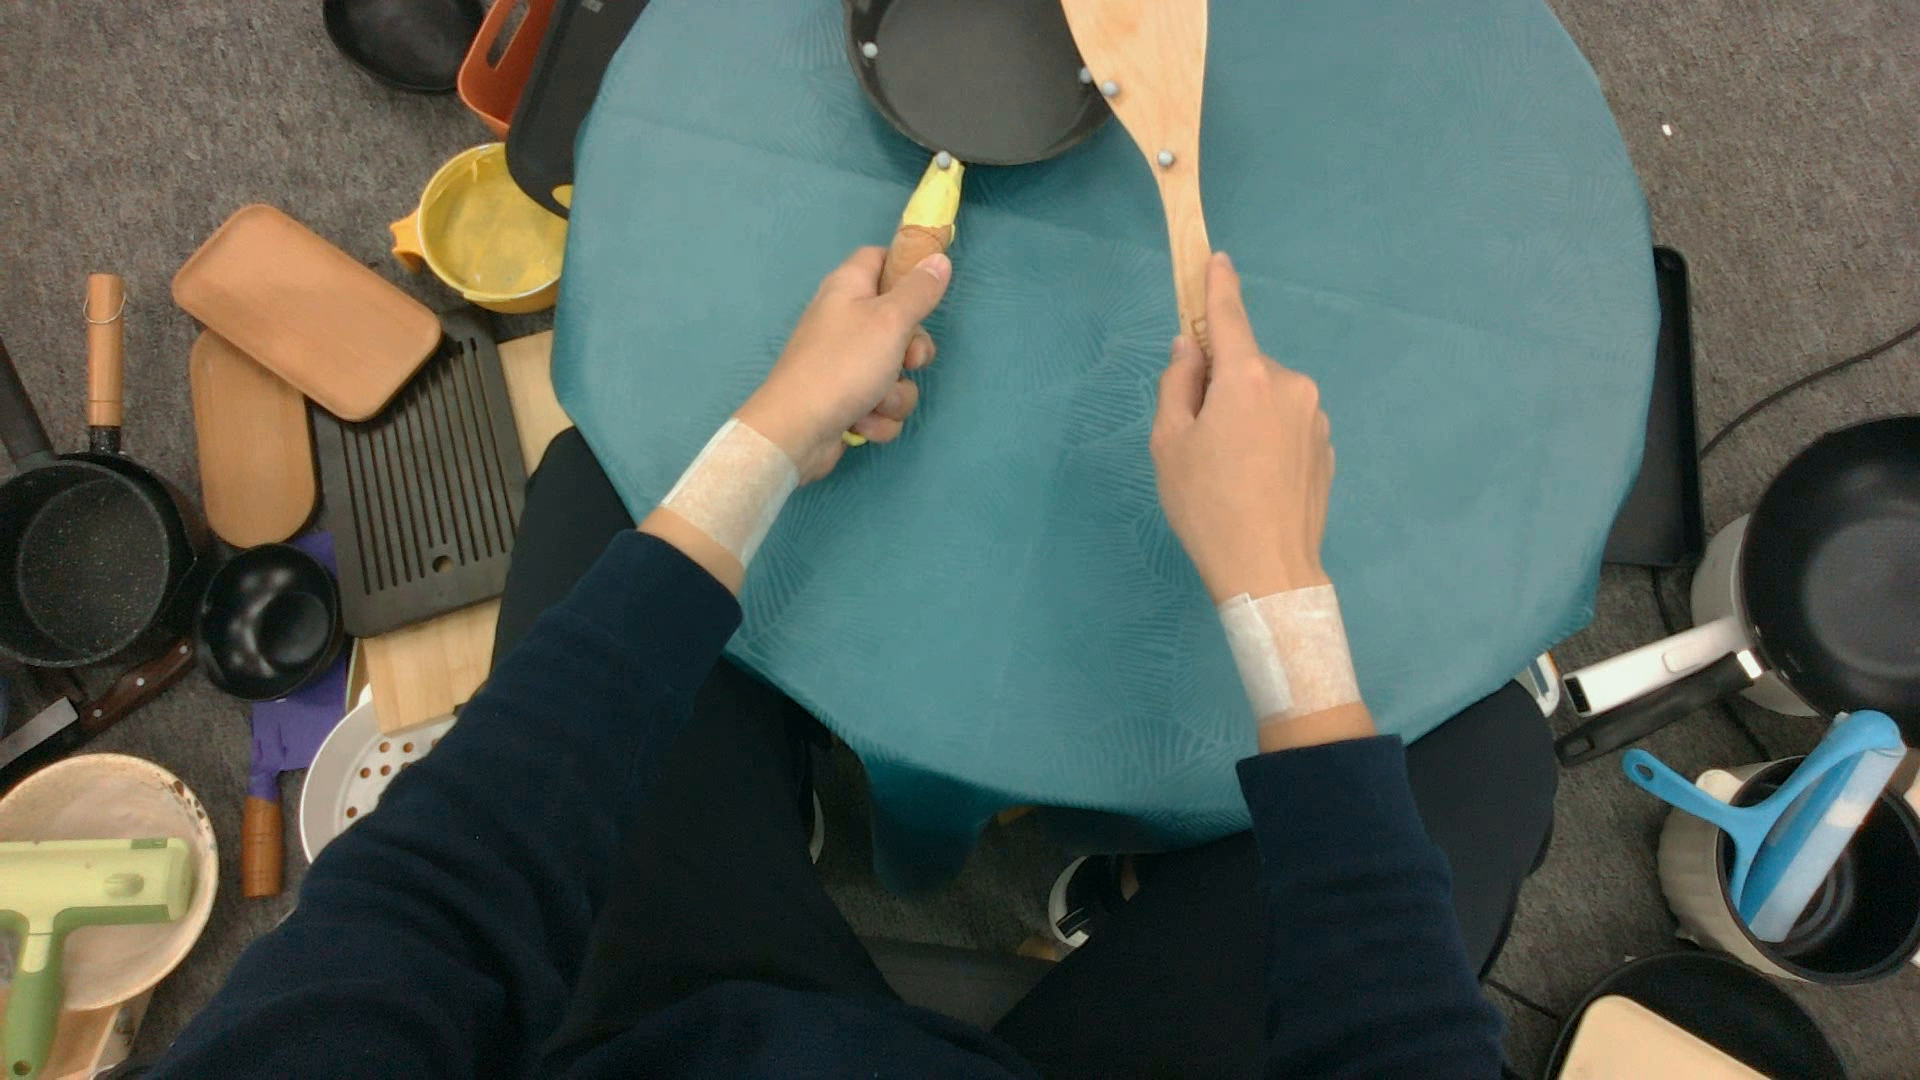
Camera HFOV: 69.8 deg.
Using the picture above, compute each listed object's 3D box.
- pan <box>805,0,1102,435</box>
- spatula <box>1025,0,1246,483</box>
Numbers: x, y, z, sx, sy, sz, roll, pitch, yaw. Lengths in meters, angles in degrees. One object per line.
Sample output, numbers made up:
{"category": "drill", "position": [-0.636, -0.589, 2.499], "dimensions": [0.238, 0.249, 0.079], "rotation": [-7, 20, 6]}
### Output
{"category": "pan", "position": [-0.025, -0.200, 0.723], "dimensions": [0.169, 0.049, 0.325], "rotation": [18, 73, -1]}
{"category": "spatula", "position": [0.089, -0.179, 0.669], "dimensions": [0.079, 0.016, 0.328], "rotation": [-22, 67, 30]}
